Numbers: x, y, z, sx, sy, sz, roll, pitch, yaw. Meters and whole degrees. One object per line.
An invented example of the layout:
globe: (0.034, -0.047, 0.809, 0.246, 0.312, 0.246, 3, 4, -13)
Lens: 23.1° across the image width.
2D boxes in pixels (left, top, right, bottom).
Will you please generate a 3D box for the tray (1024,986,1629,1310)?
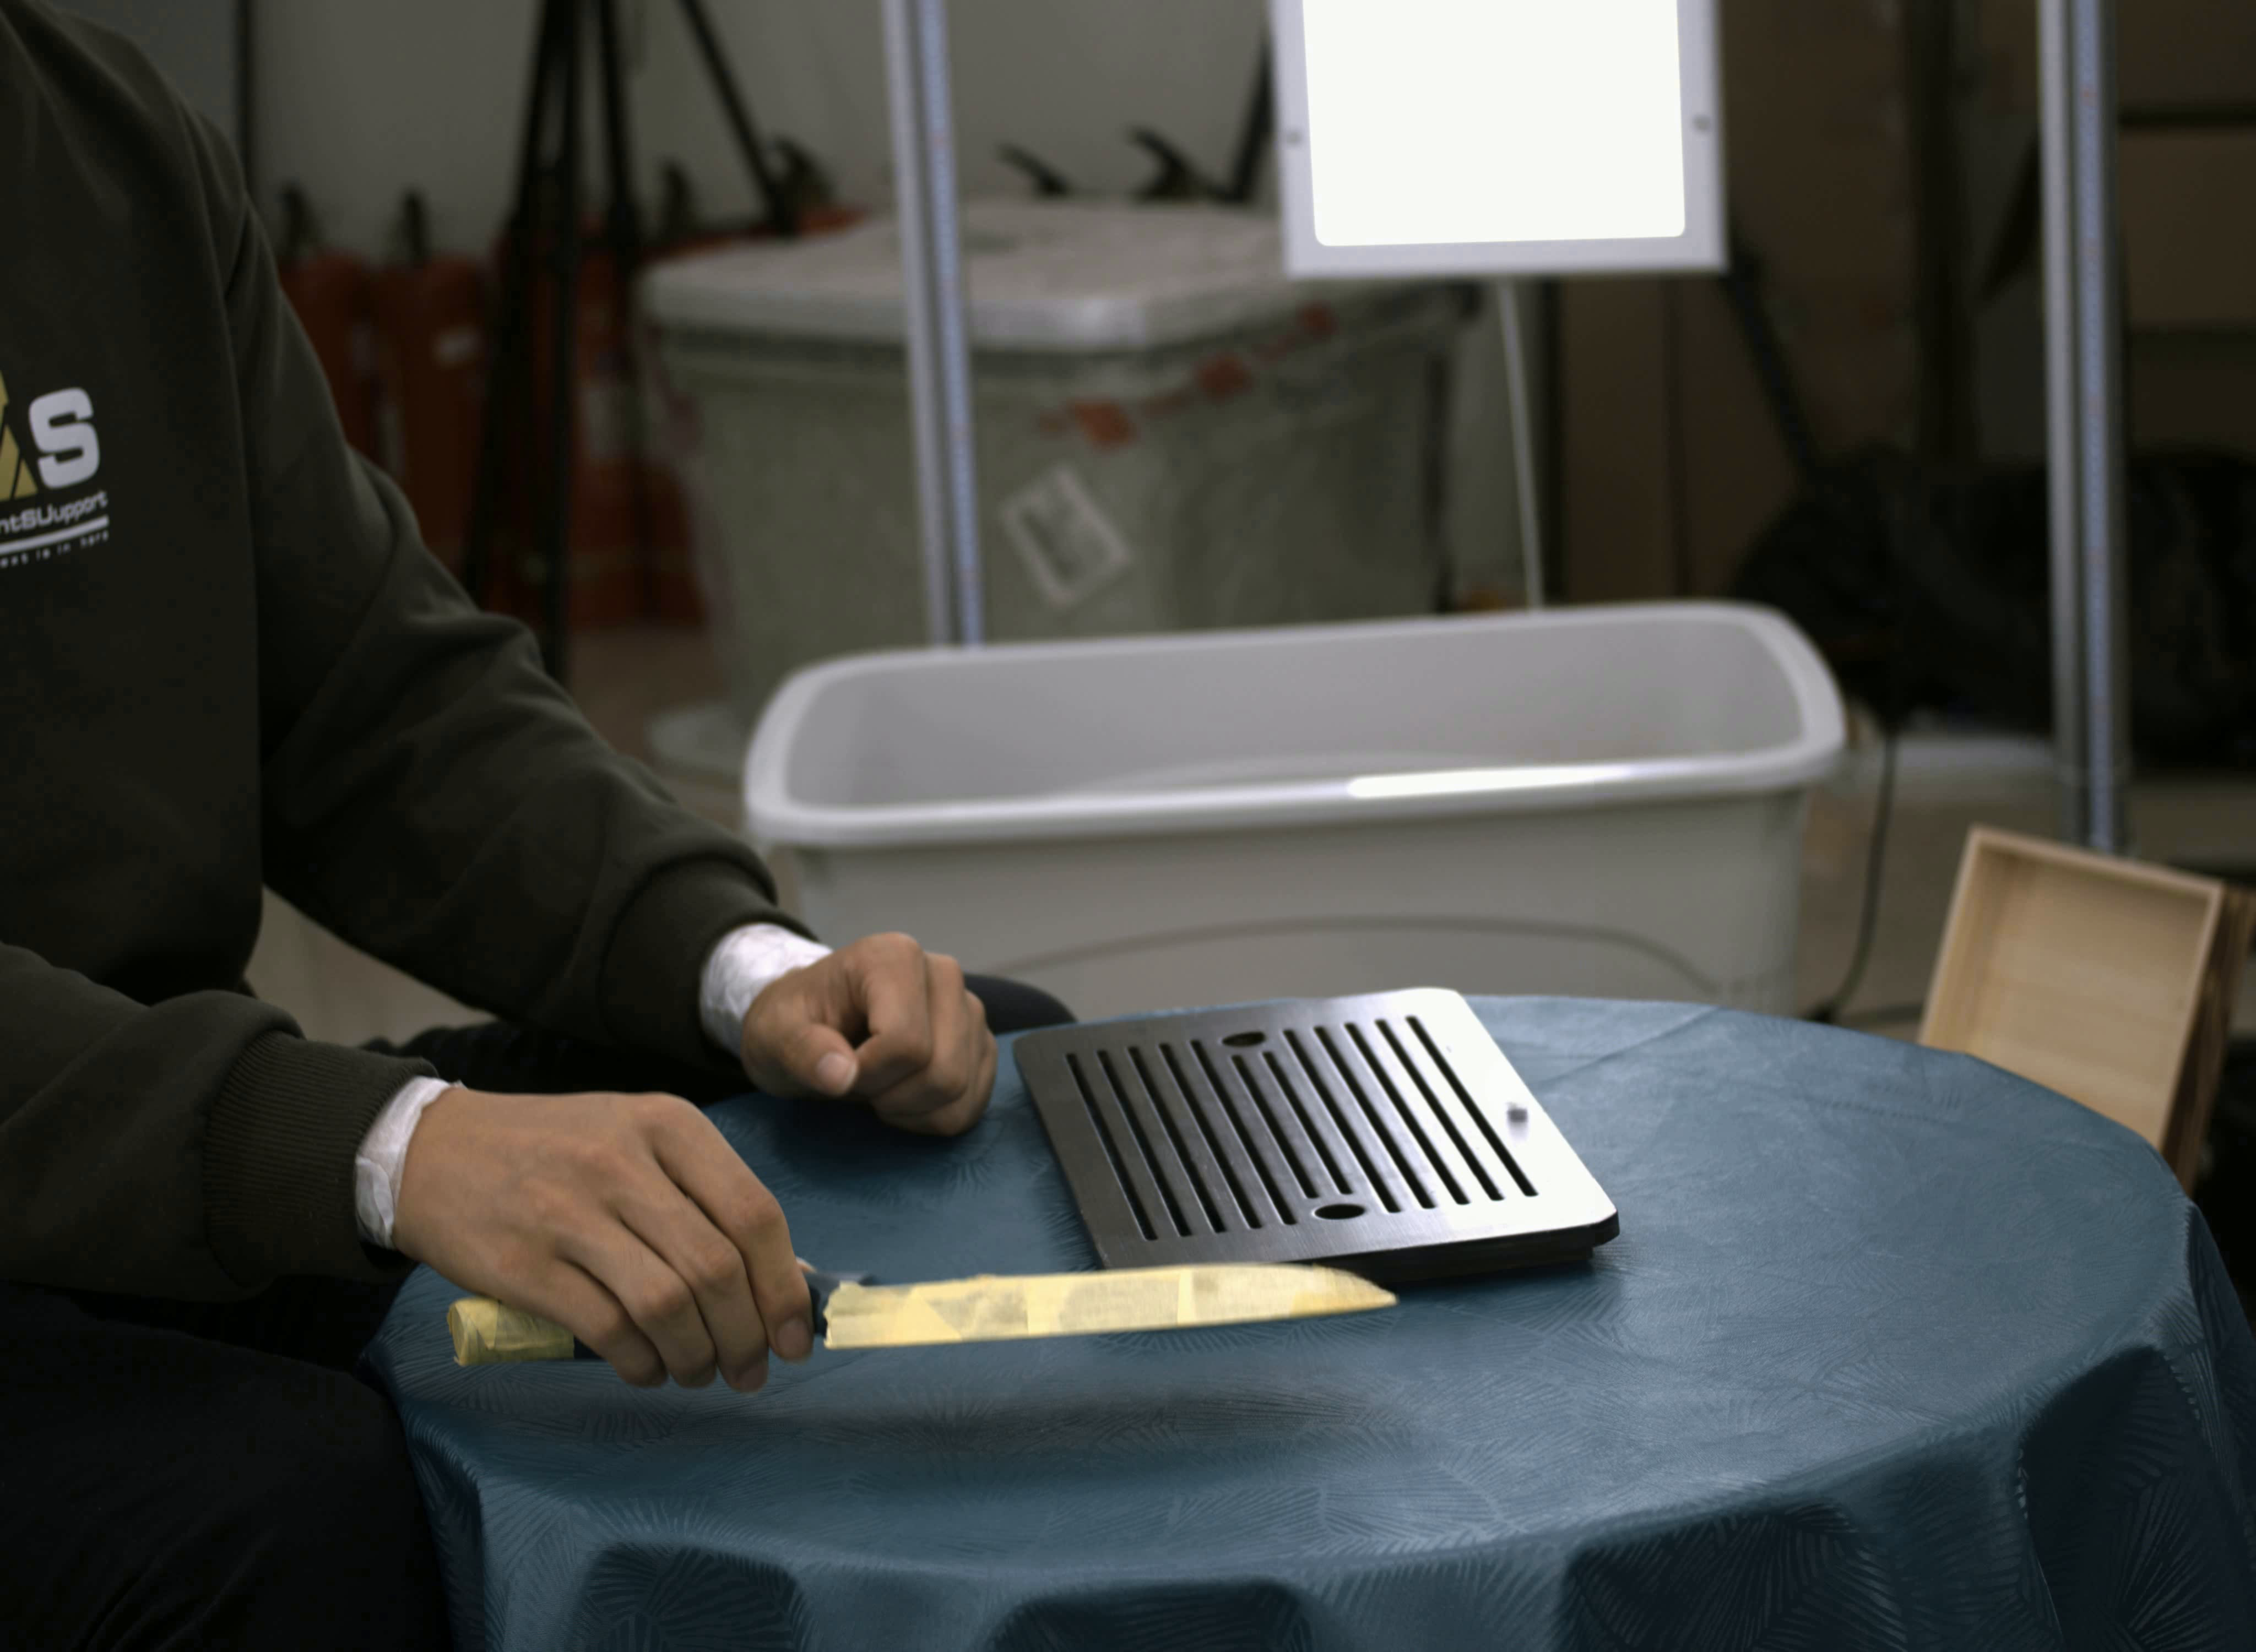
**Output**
tray: (0.063, 0.109, 1.913, 0.169, 0.019, 0.307, -7, 13, -5)

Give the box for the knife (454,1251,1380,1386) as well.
knife: (-0.066, 0.148, 1.680, 0.290, 0.027, 0.080, -6, 6, 7)
